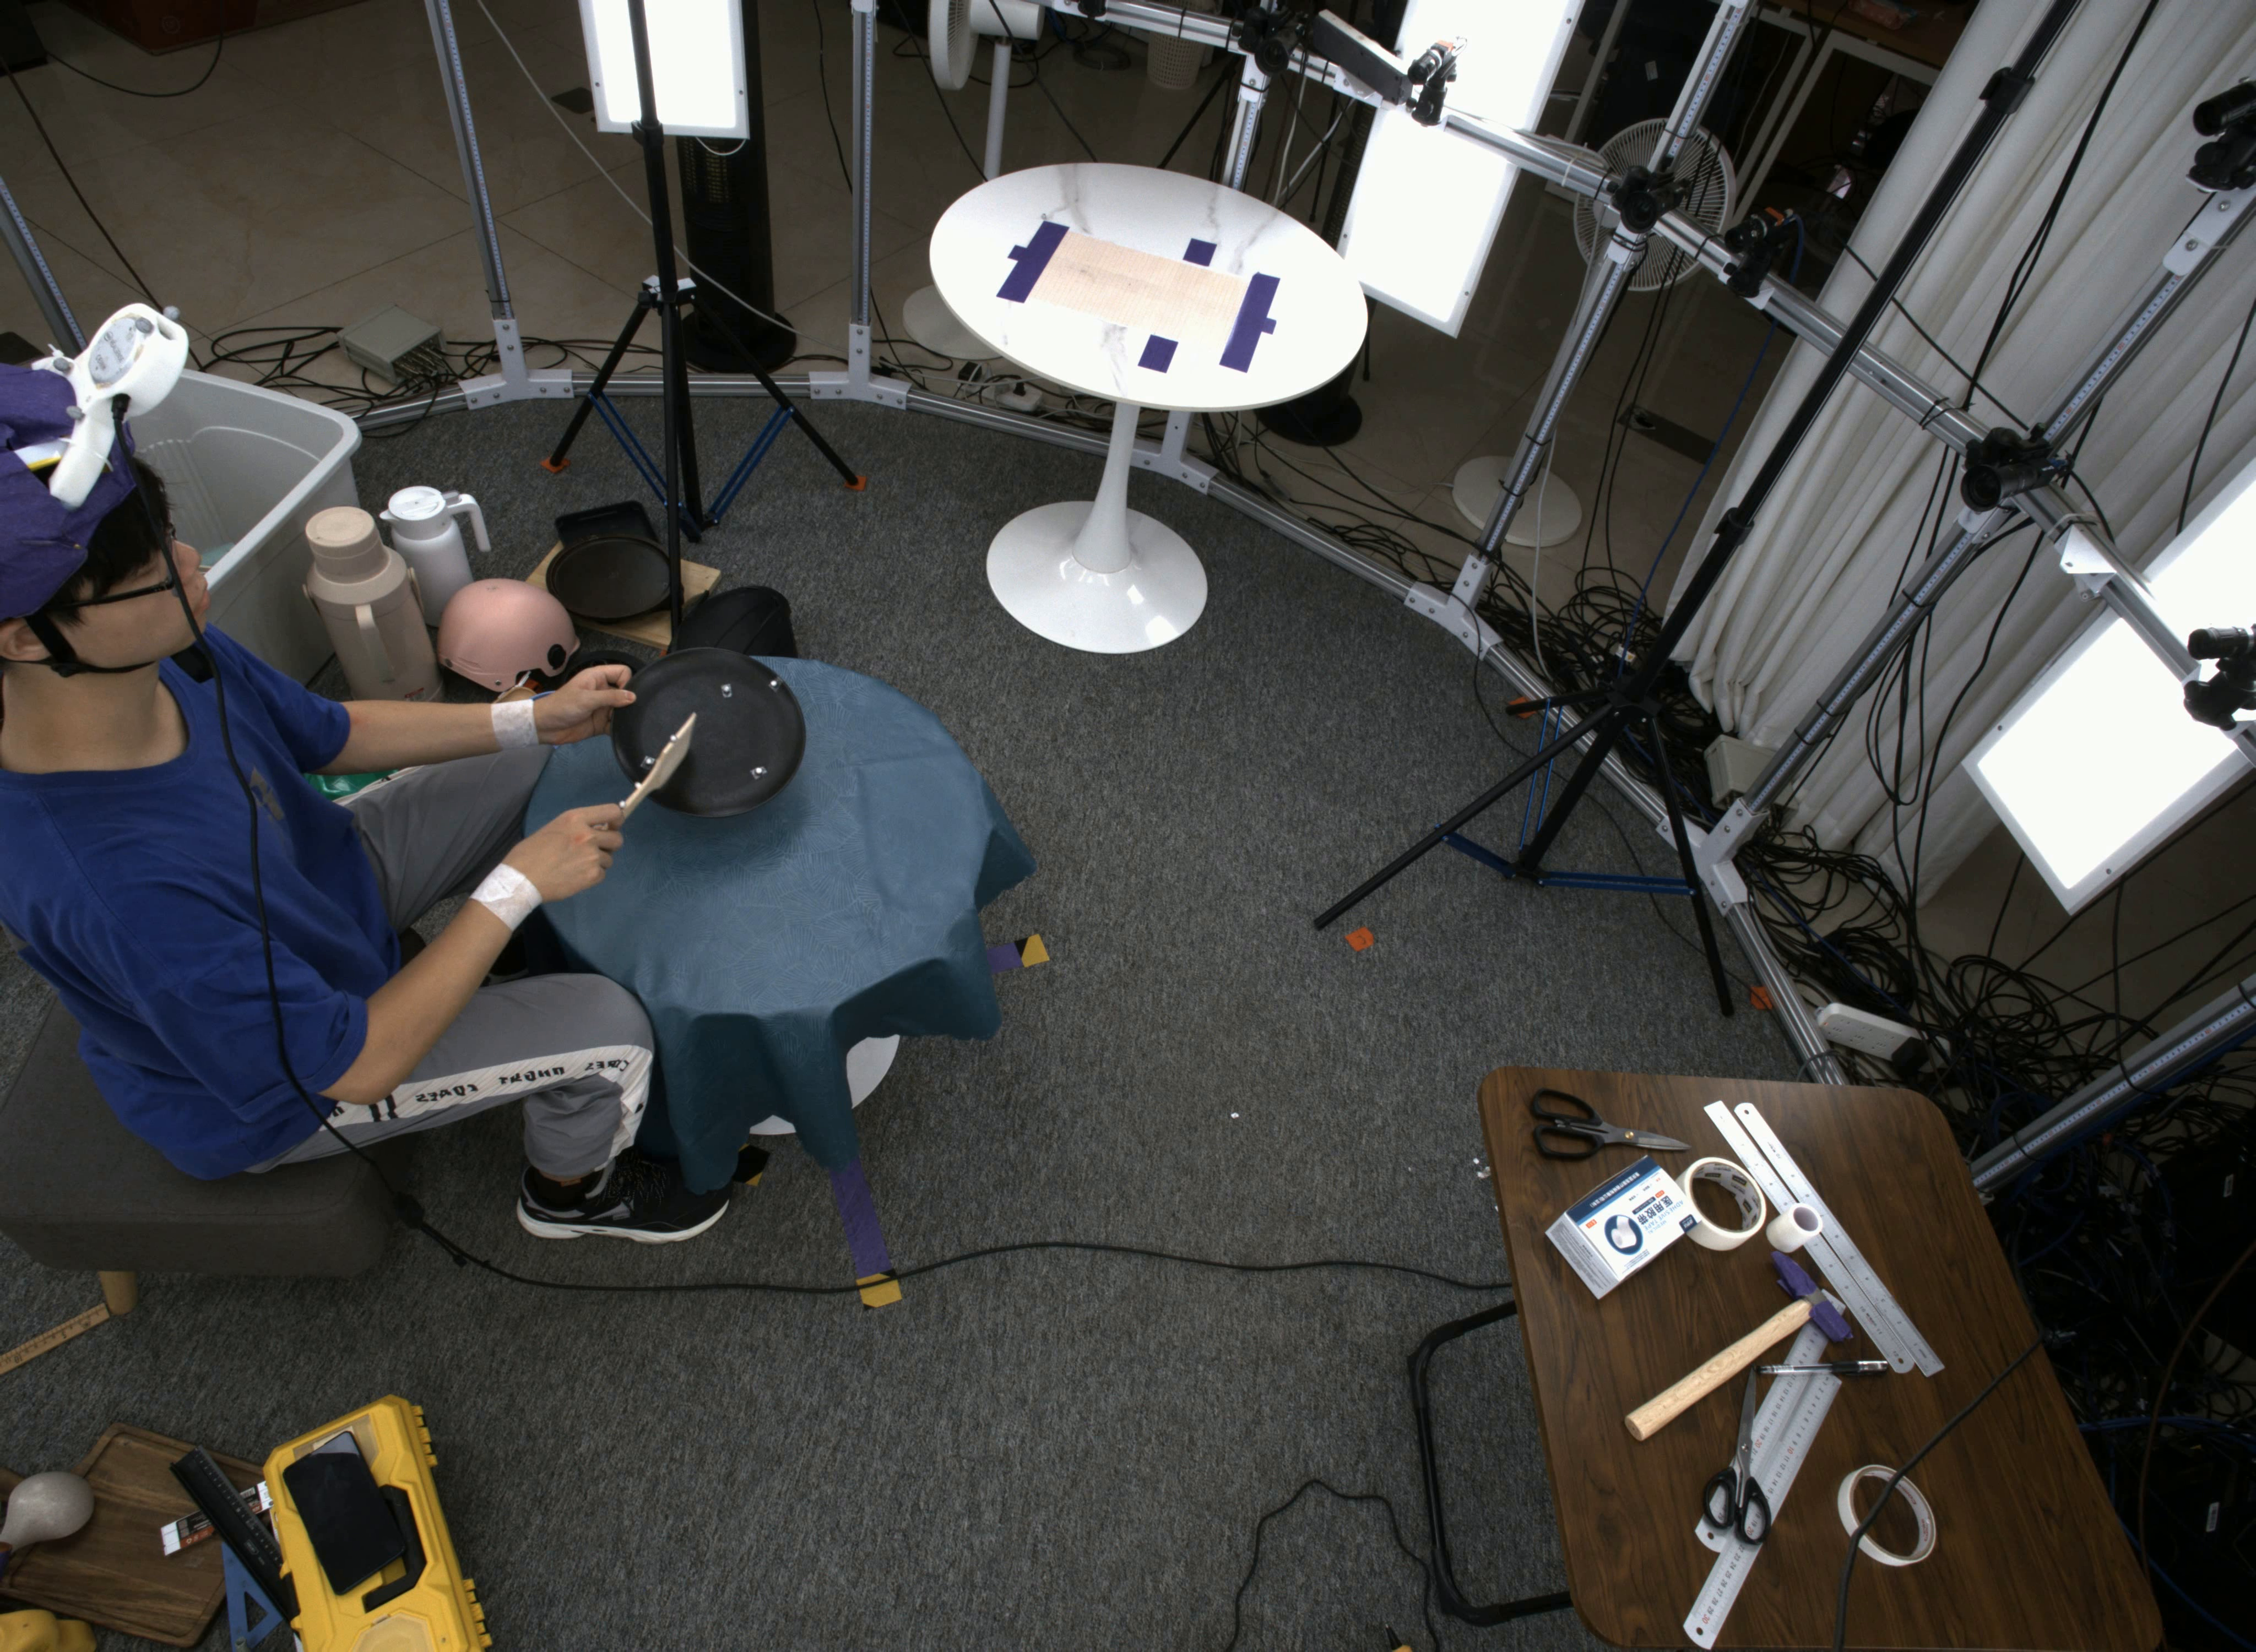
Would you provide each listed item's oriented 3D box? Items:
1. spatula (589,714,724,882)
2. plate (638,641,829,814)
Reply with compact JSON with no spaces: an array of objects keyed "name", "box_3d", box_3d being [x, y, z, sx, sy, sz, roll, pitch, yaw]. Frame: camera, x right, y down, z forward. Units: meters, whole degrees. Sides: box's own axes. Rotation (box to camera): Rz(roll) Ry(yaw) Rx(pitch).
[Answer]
[{"name":"spatula","box_3d":[-0.561,-0.034,1.534,0.010,0.073,0.290,29,42,-2]},{"name":"plate","box_3d":[-0.512,-0.127,1.677,0.246,0.023,0.242,8,68,-18]}]
